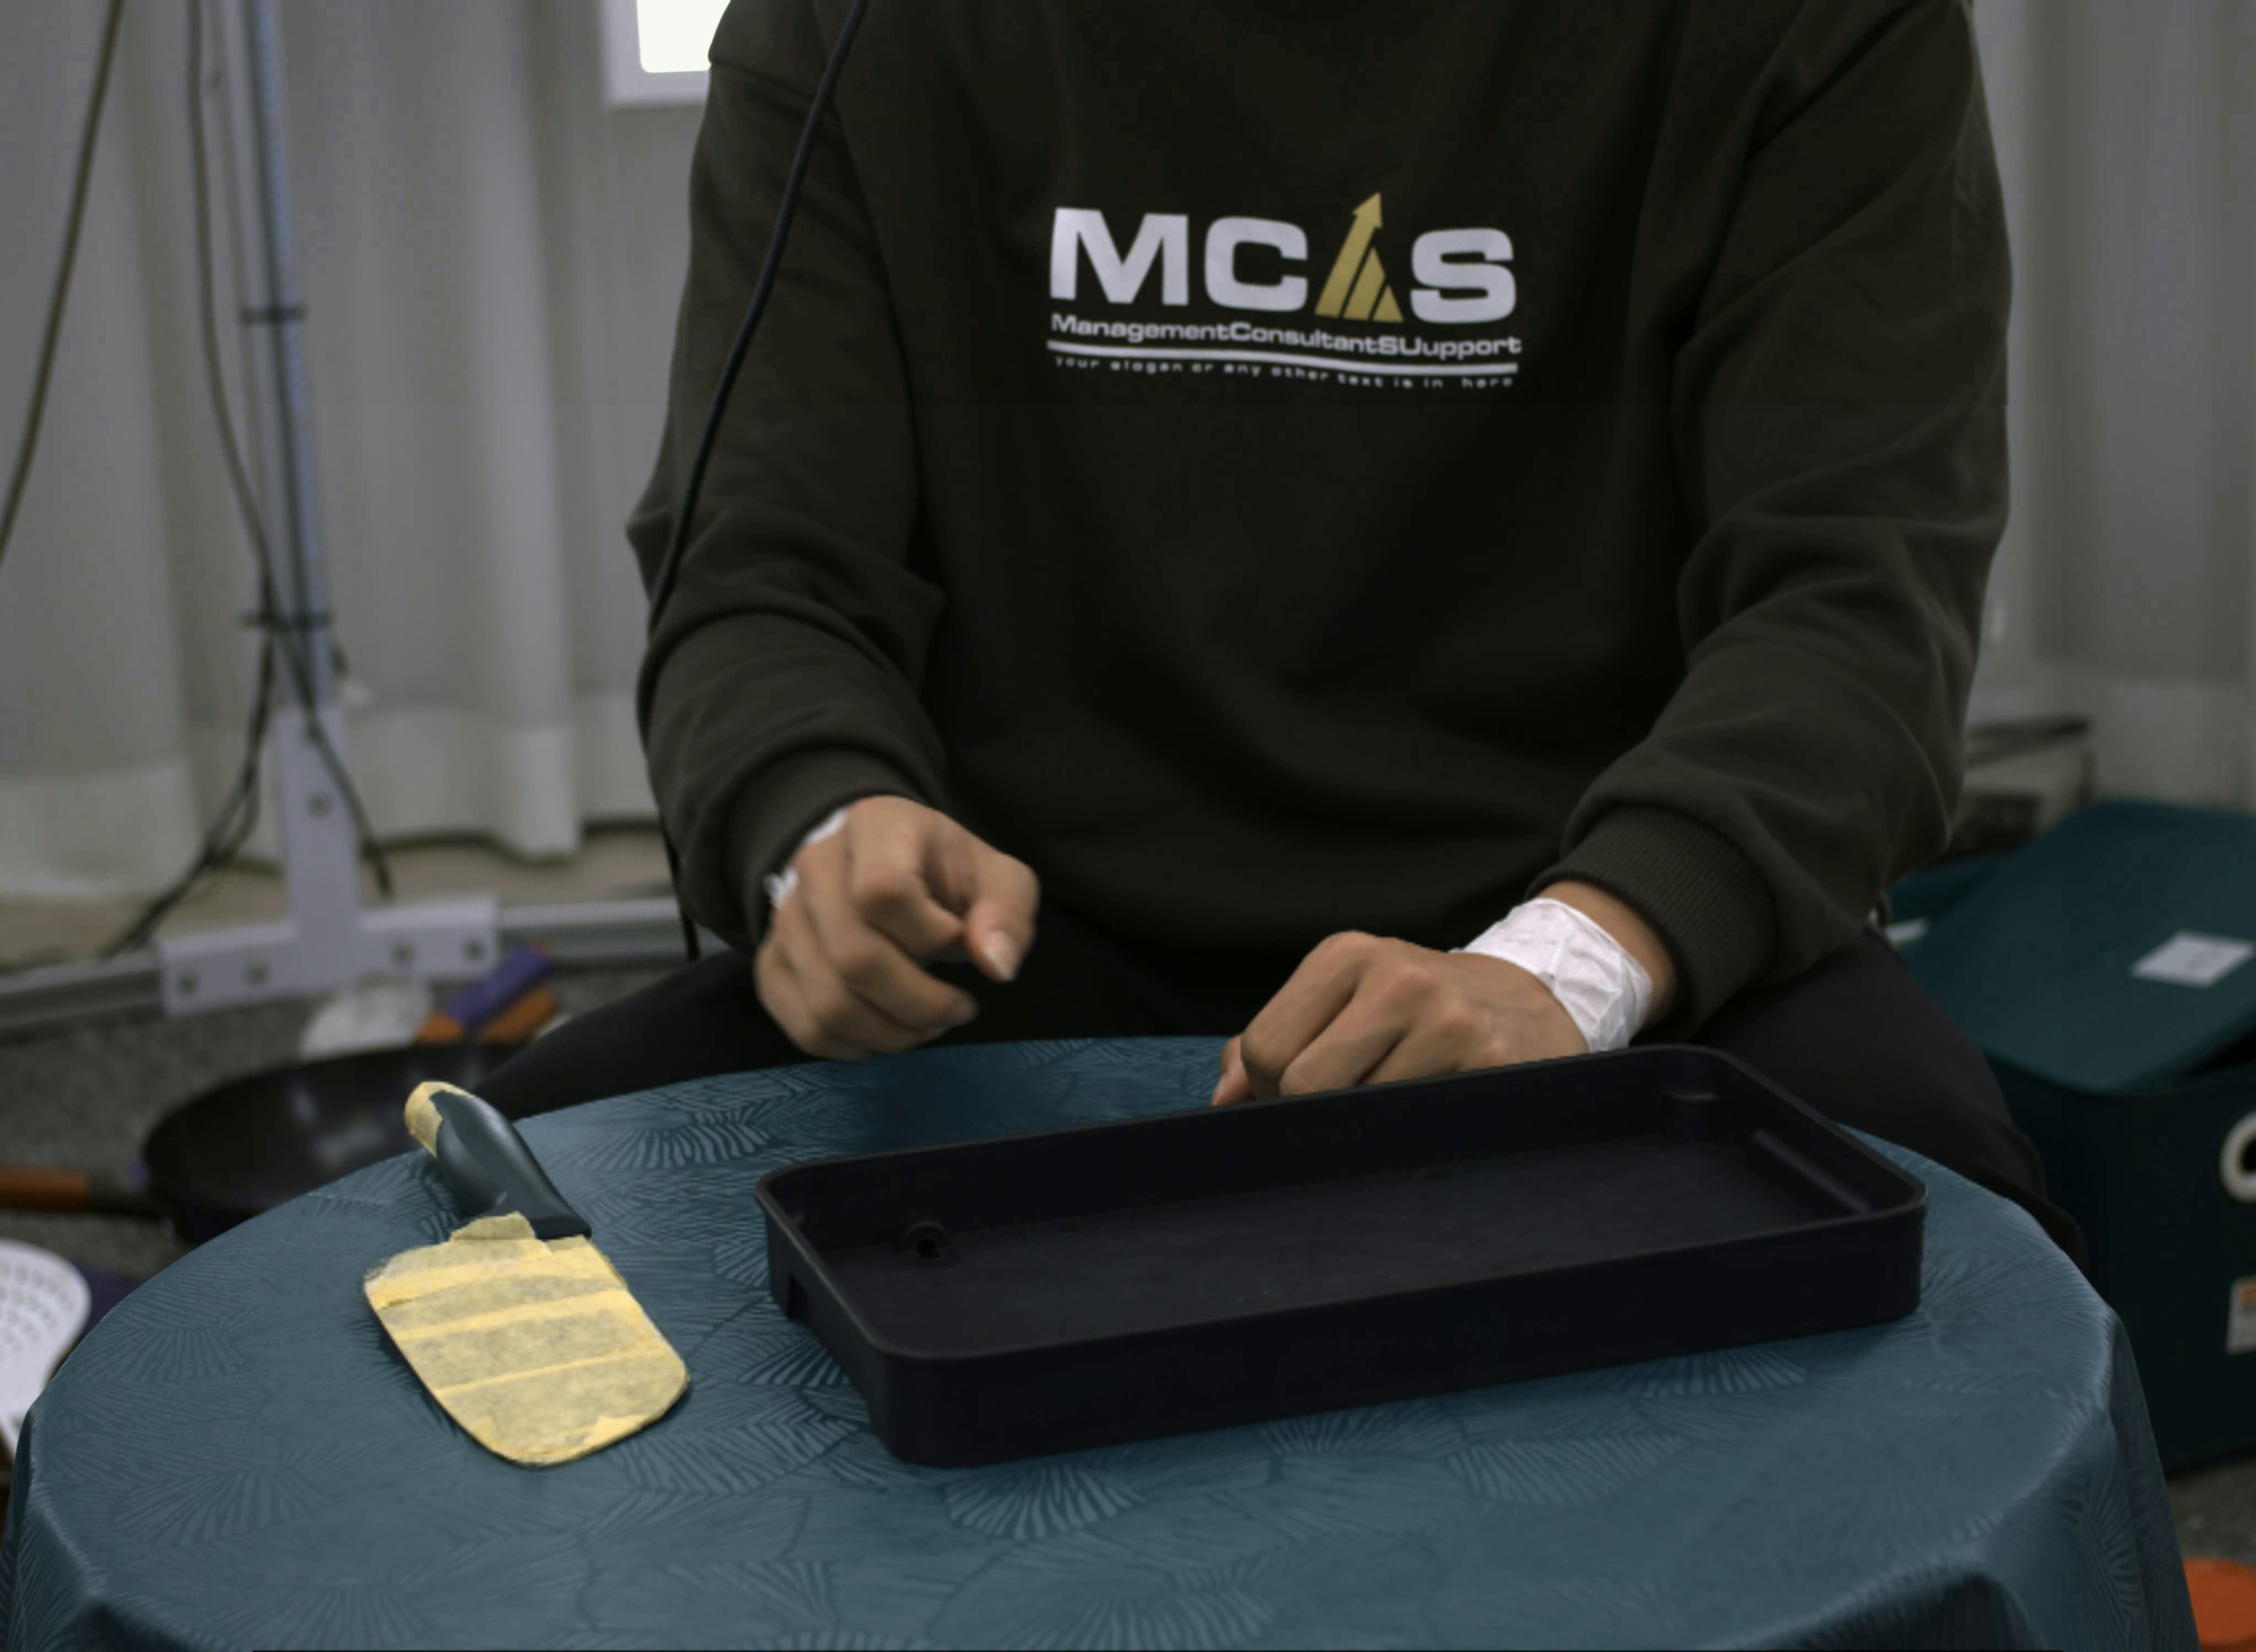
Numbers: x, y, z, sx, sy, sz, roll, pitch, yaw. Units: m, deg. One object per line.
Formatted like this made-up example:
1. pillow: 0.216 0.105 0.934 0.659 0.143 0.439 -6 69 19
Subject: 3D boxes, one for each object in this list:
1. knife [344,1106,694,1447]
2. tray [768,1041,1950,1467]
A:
1. knife: -0.193 0.136 1.646 0.080 0.027 0.292 -5 16 -17
2. tray: 0.066 0.122 1.610 0.316 0.037 0.186 -8 15 -17
